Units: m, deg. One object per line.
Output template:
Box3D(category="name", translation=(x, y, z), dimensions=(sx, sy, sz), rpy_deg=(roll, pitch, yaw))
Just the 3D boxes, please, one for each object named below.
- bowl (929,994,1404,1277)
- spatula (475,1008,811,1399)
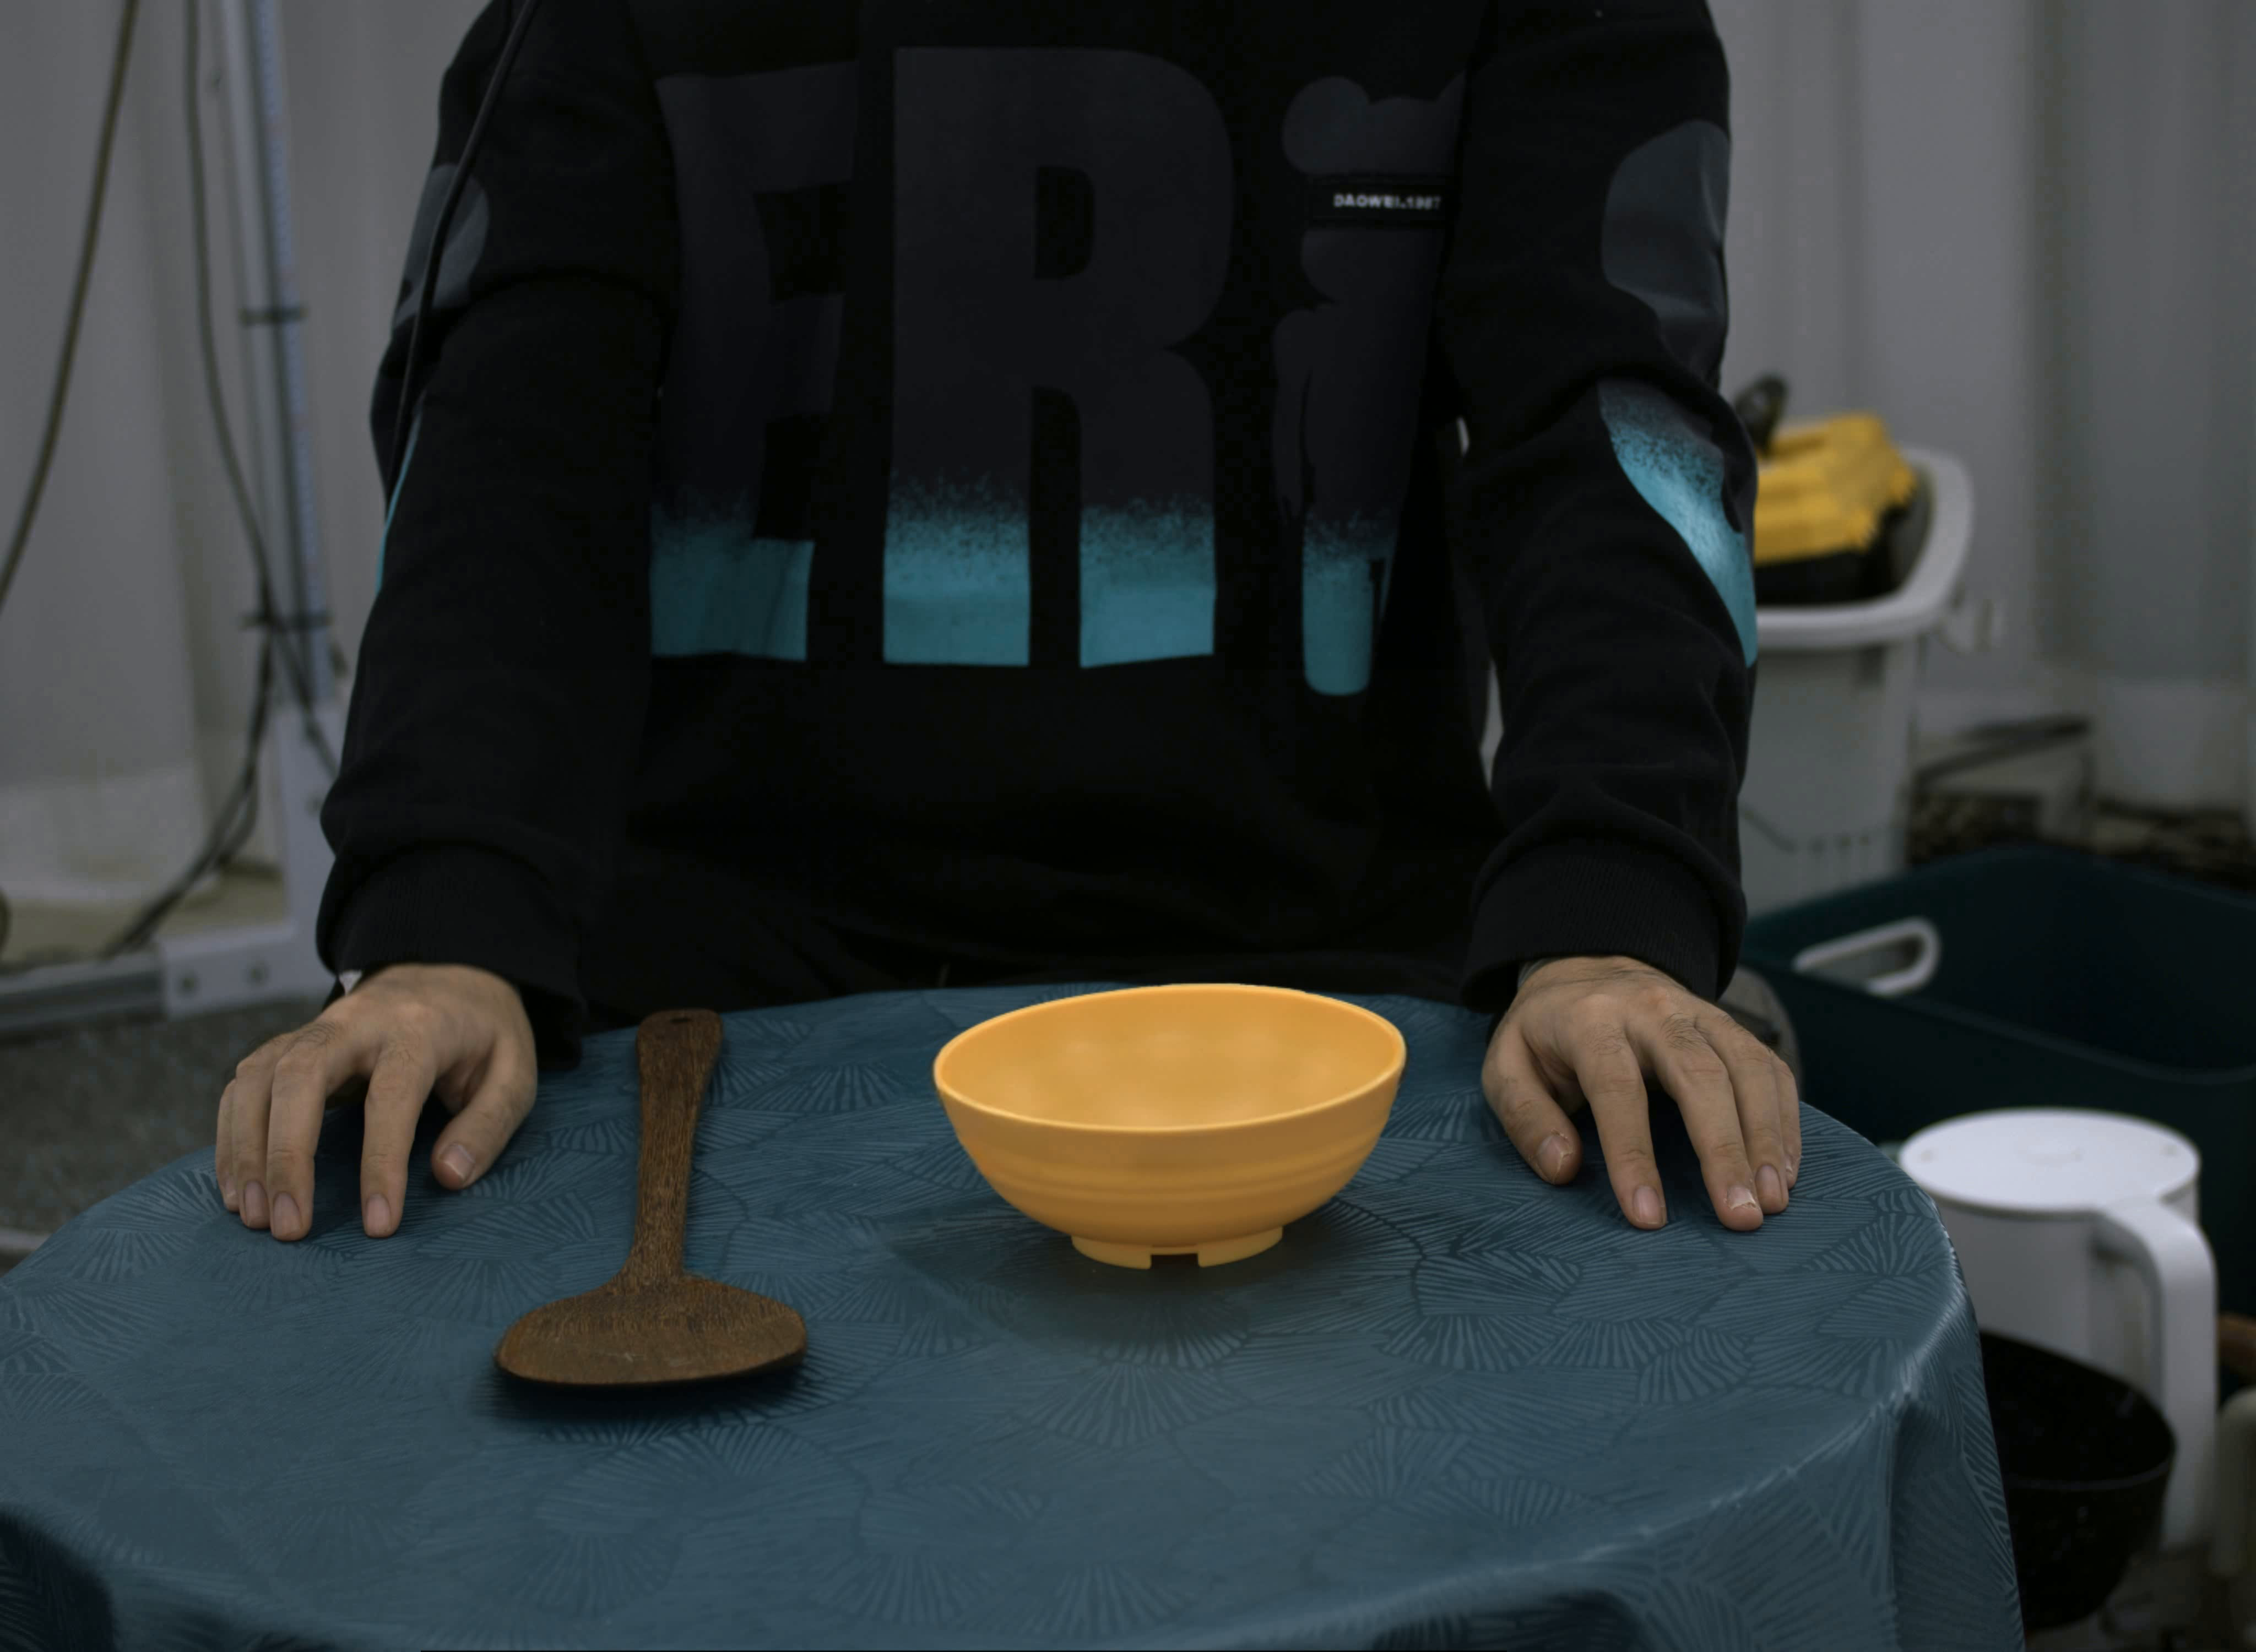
Box3D(category="bowl", translation=(0.012, 0.099, 1.665), dimensions=(0.145, 0.060, 0.146), rpy_deg=(0, 14, 0))
Box3D(category="spatula", translation=(-0.147, 0.113, 1.724), dimensions=(0.096, 0.016, 0.388), rpy_deg=(-3, 15, -2))
